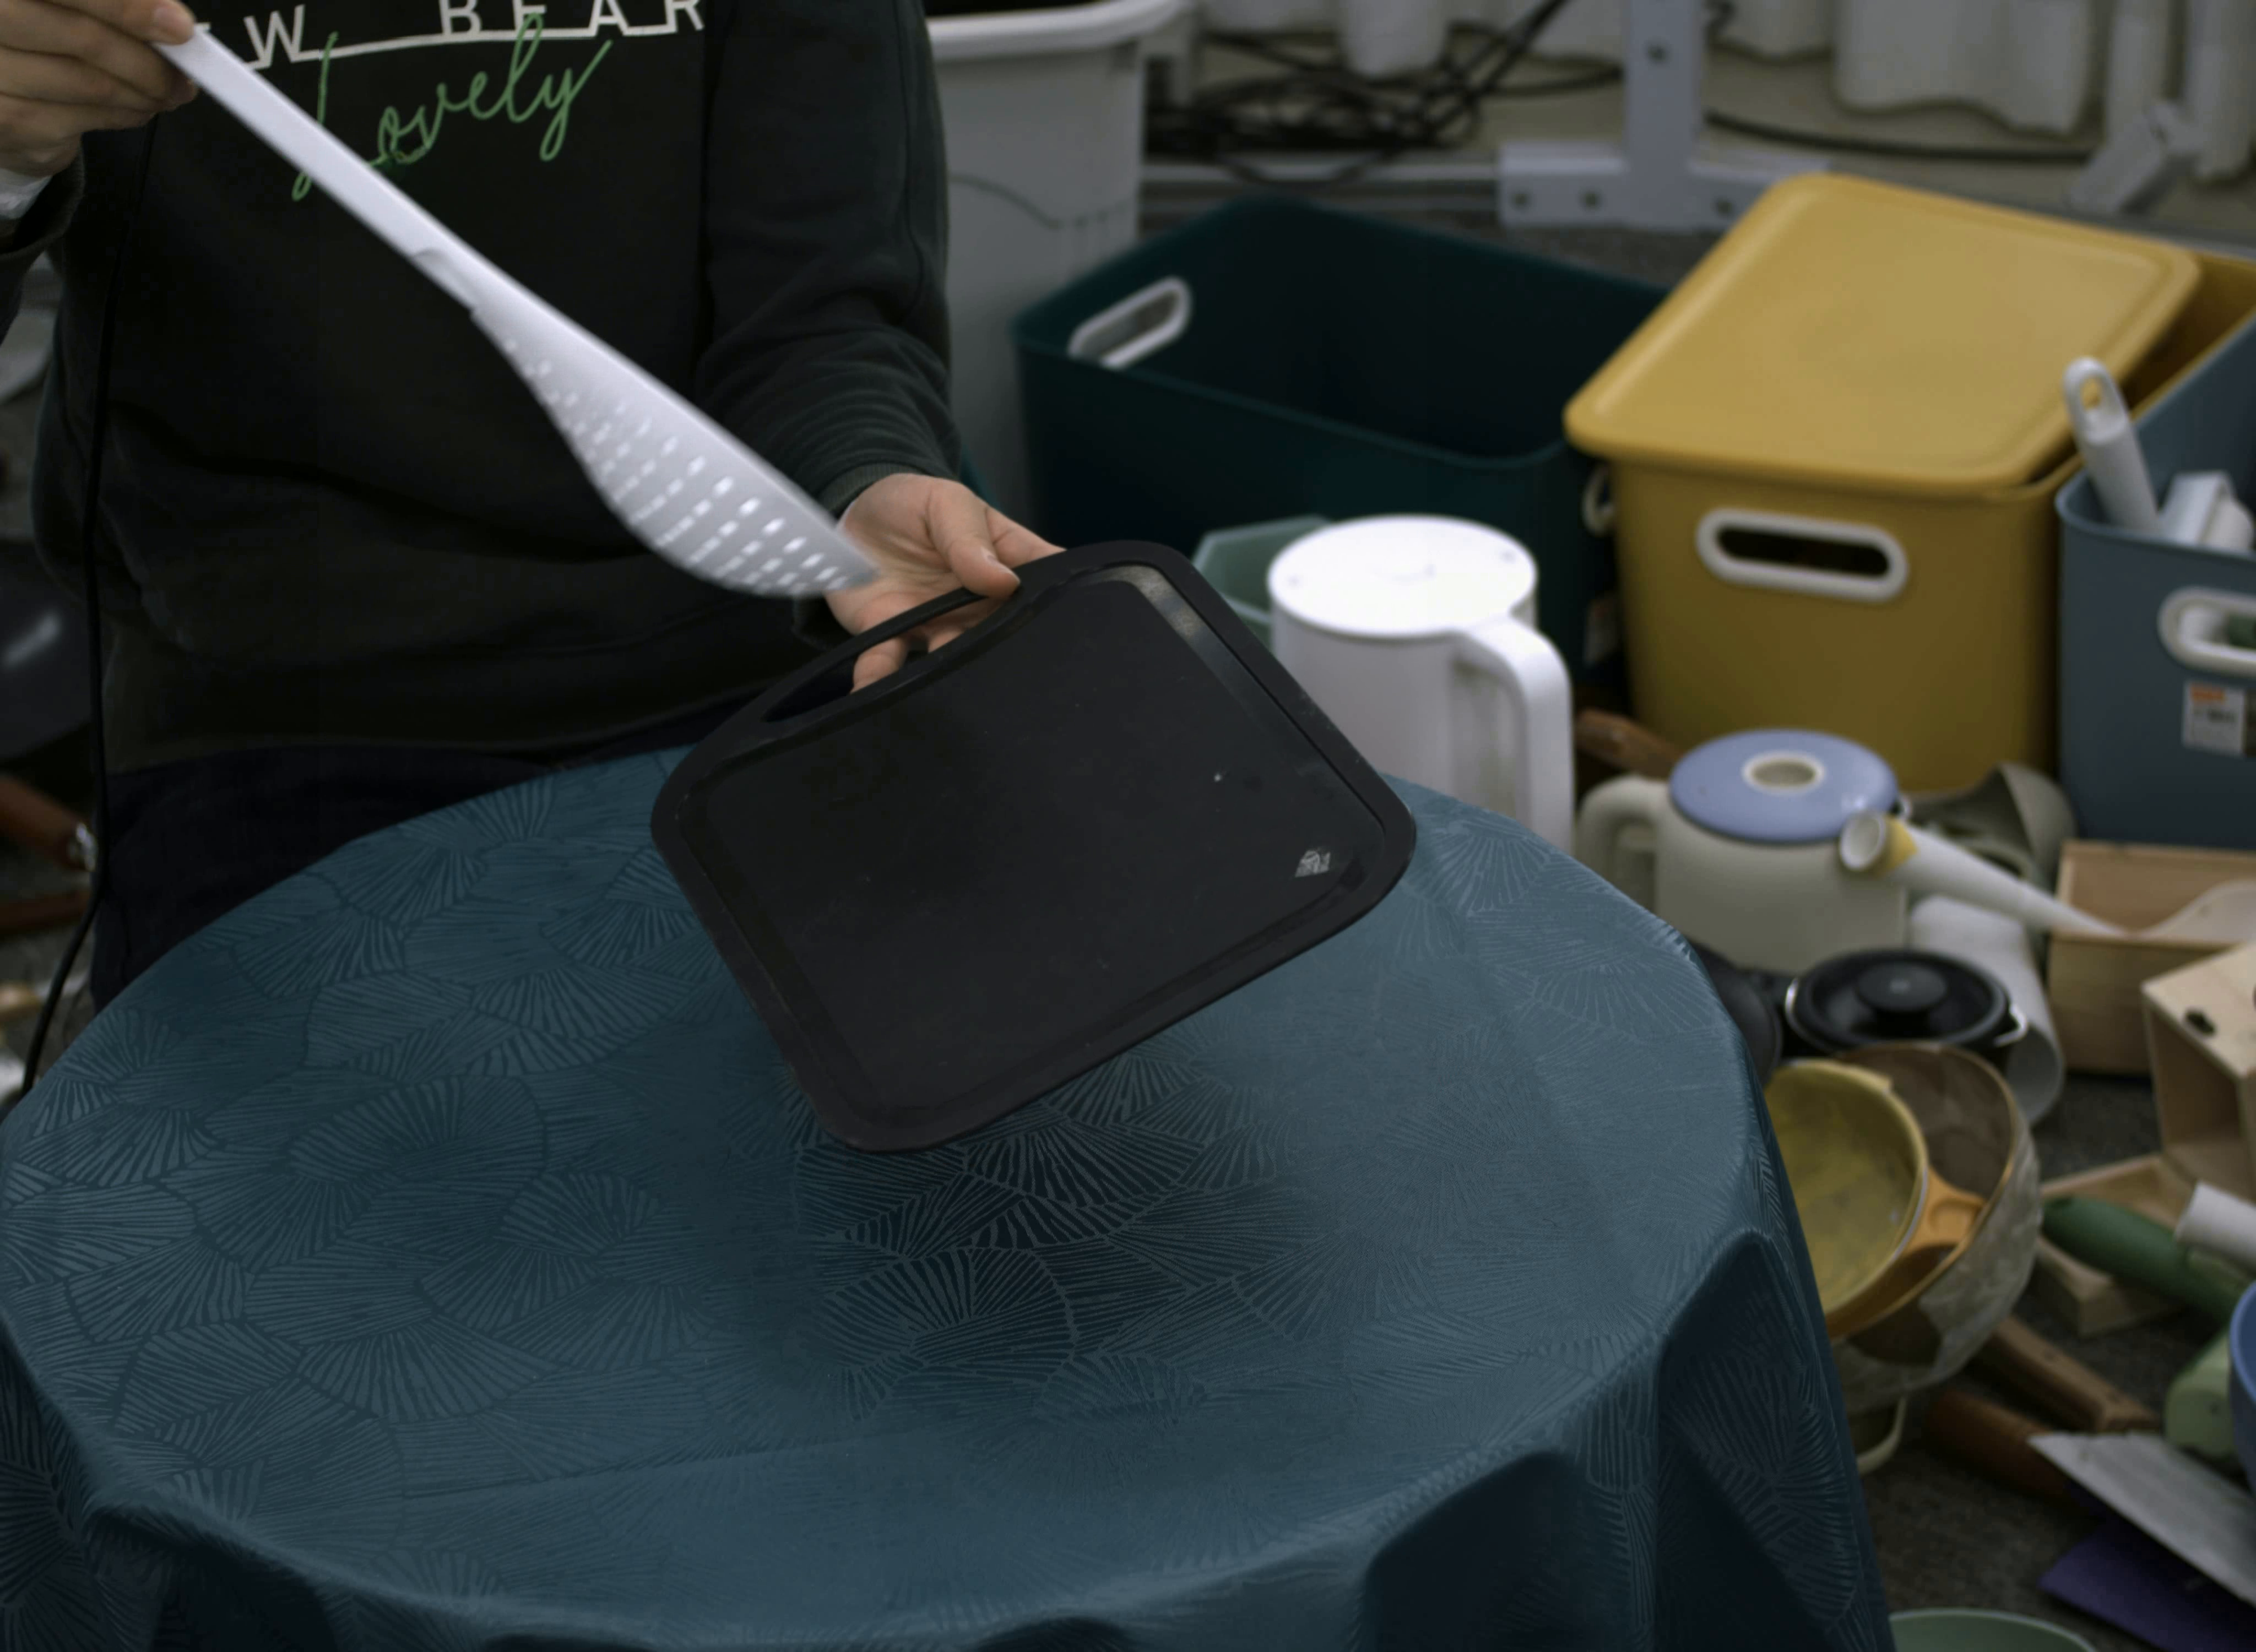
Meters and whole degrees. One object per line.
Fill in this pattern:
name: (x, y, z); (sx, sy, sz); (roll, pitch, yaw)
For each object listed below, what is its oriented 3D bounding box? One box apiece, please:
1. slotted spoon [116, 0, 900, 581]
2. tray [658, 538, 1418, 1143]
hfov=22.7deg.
slotted spoon: (-0.217, -0.190, 1.863); (0.046, 0.348, 0.136); (-48, 11, -6)
tray: (-0.040, -0.006, 1.854); (0.211, 0.010, 0.328); (-28, 30, -6)
